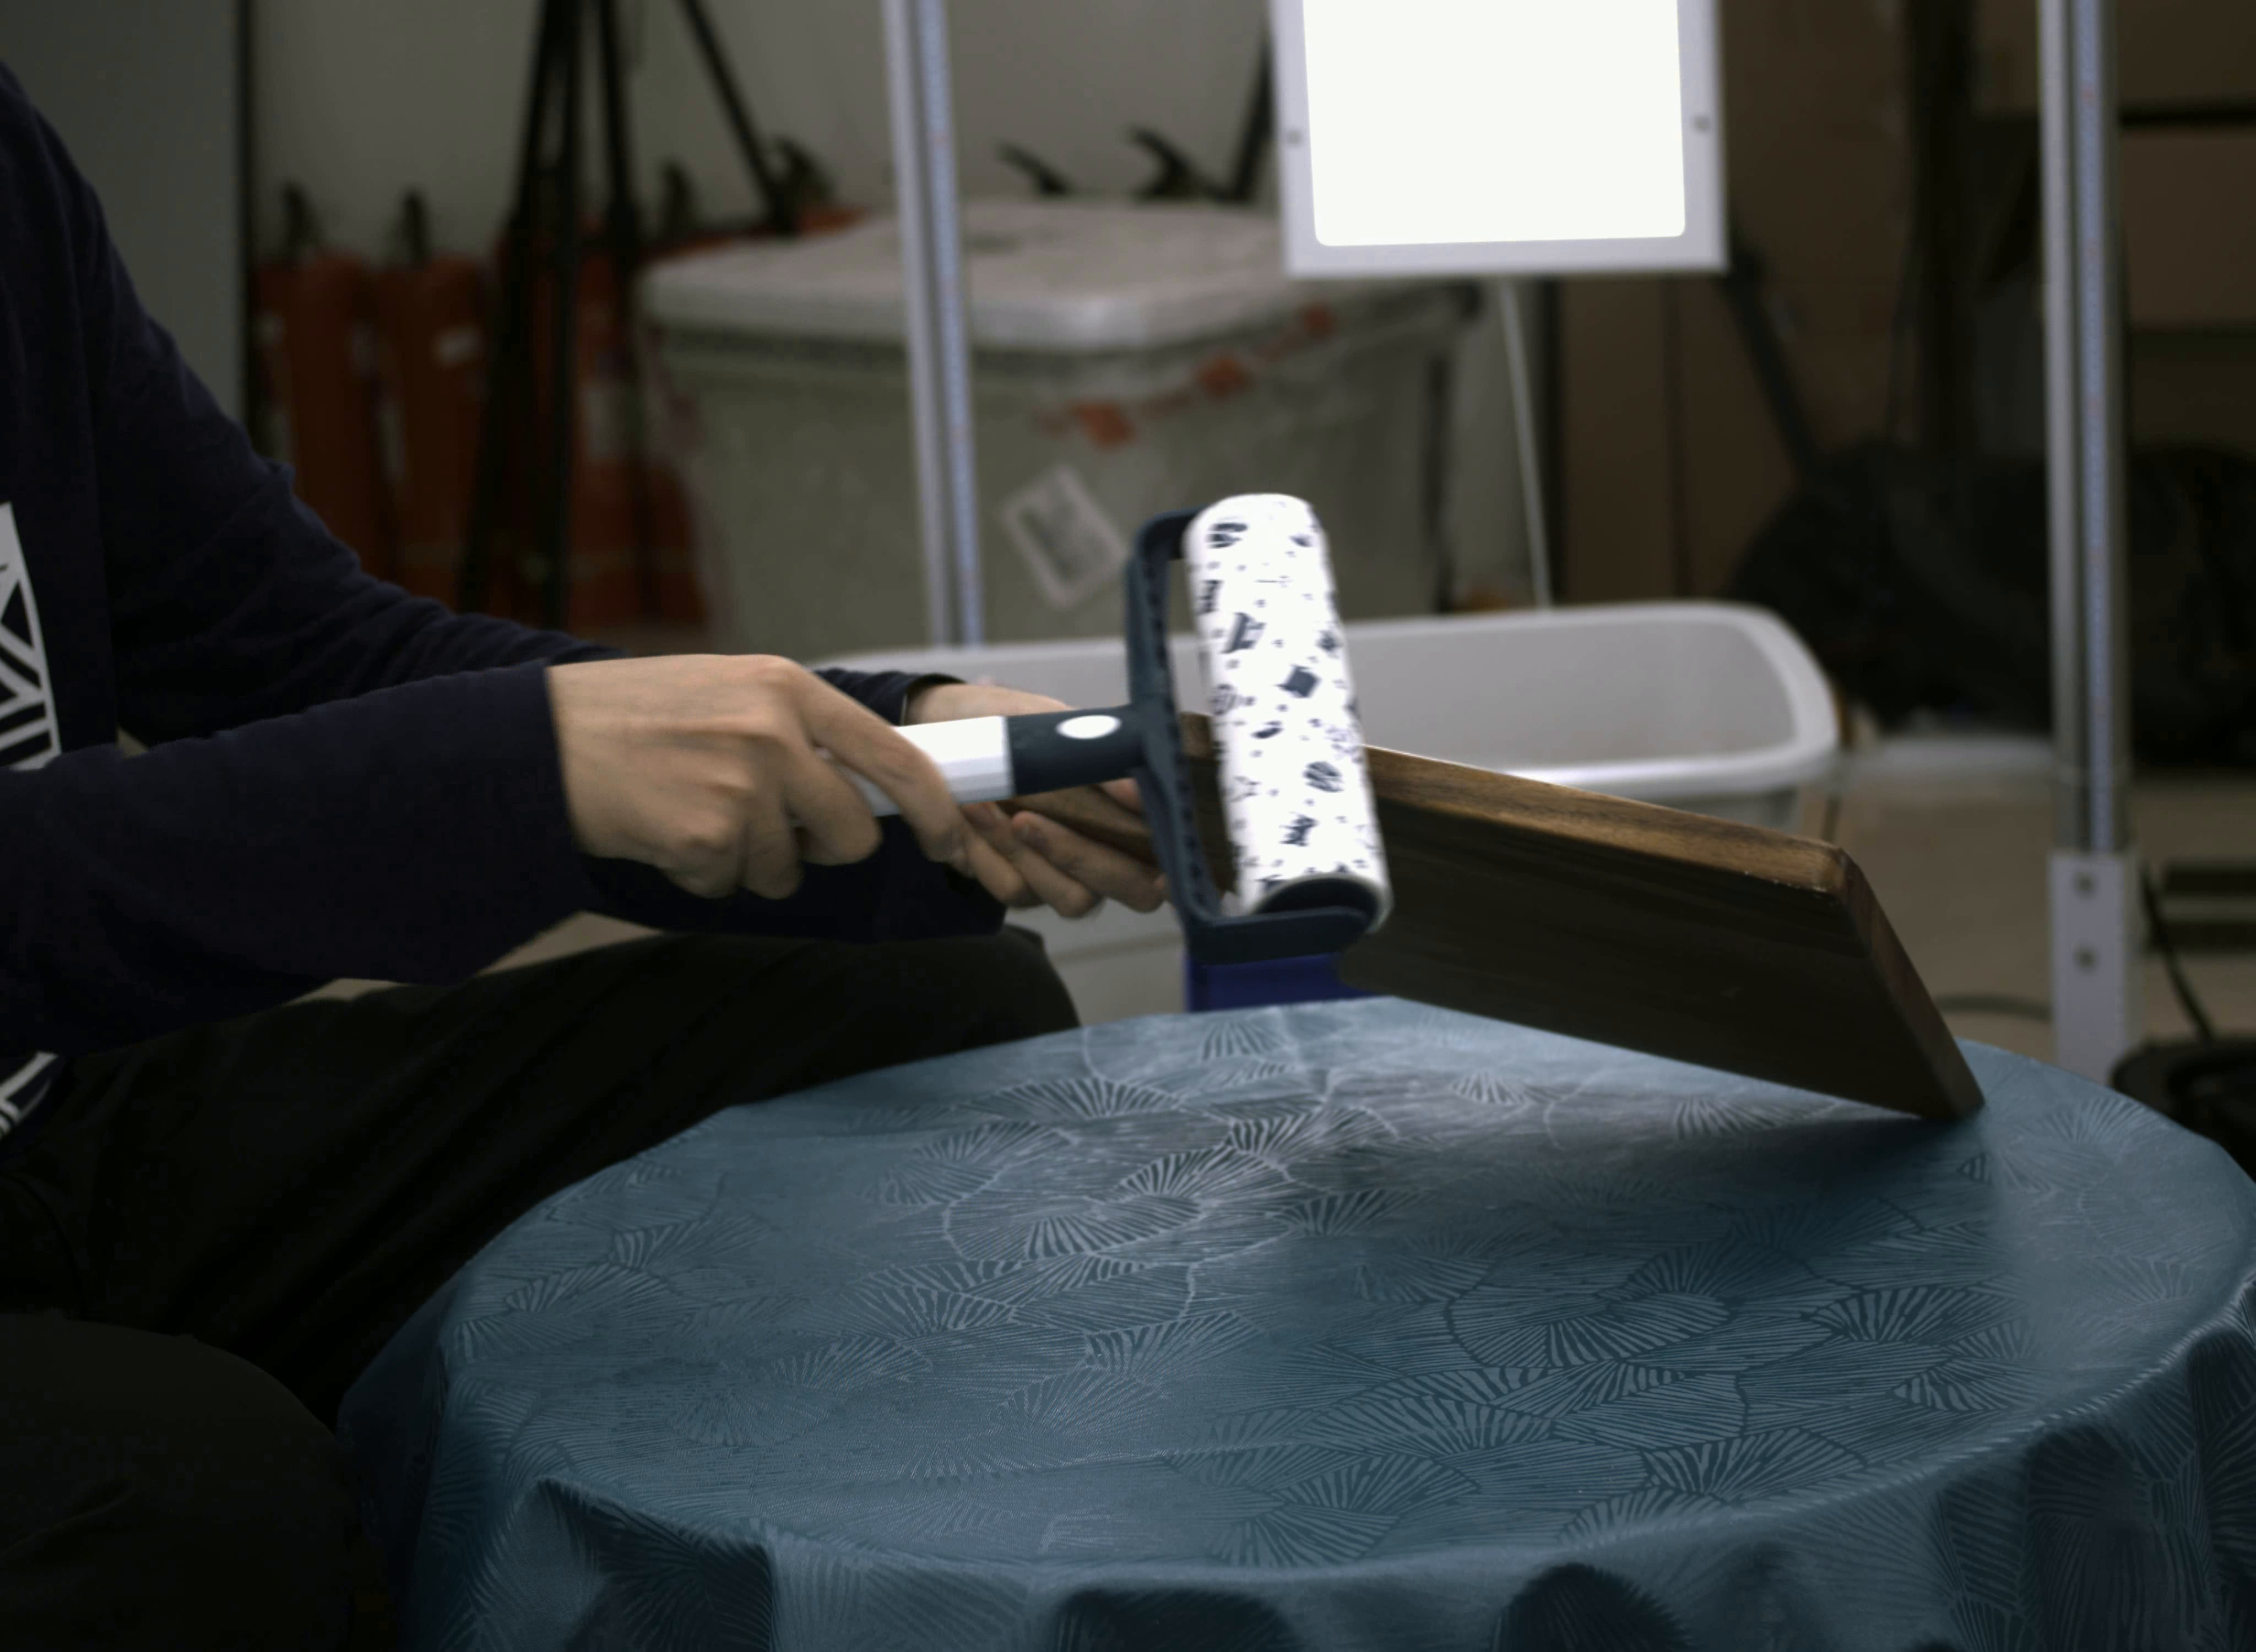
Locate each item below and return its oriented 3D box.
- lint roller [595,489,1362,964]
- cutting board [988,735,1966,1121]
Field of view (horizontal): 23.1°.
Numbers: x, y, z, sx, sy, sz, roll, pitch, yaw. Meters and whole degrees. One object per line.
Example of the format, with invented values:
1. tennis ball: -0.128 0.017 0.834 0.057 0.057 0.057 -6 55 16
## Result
1. lint roller: -0.055 -0.021 1.816 0.246 0.050 0.176 -8 55 0
2. cutting board: 0.109 0.022 1.905 0.358 0.023 0.199 12 -20 28
